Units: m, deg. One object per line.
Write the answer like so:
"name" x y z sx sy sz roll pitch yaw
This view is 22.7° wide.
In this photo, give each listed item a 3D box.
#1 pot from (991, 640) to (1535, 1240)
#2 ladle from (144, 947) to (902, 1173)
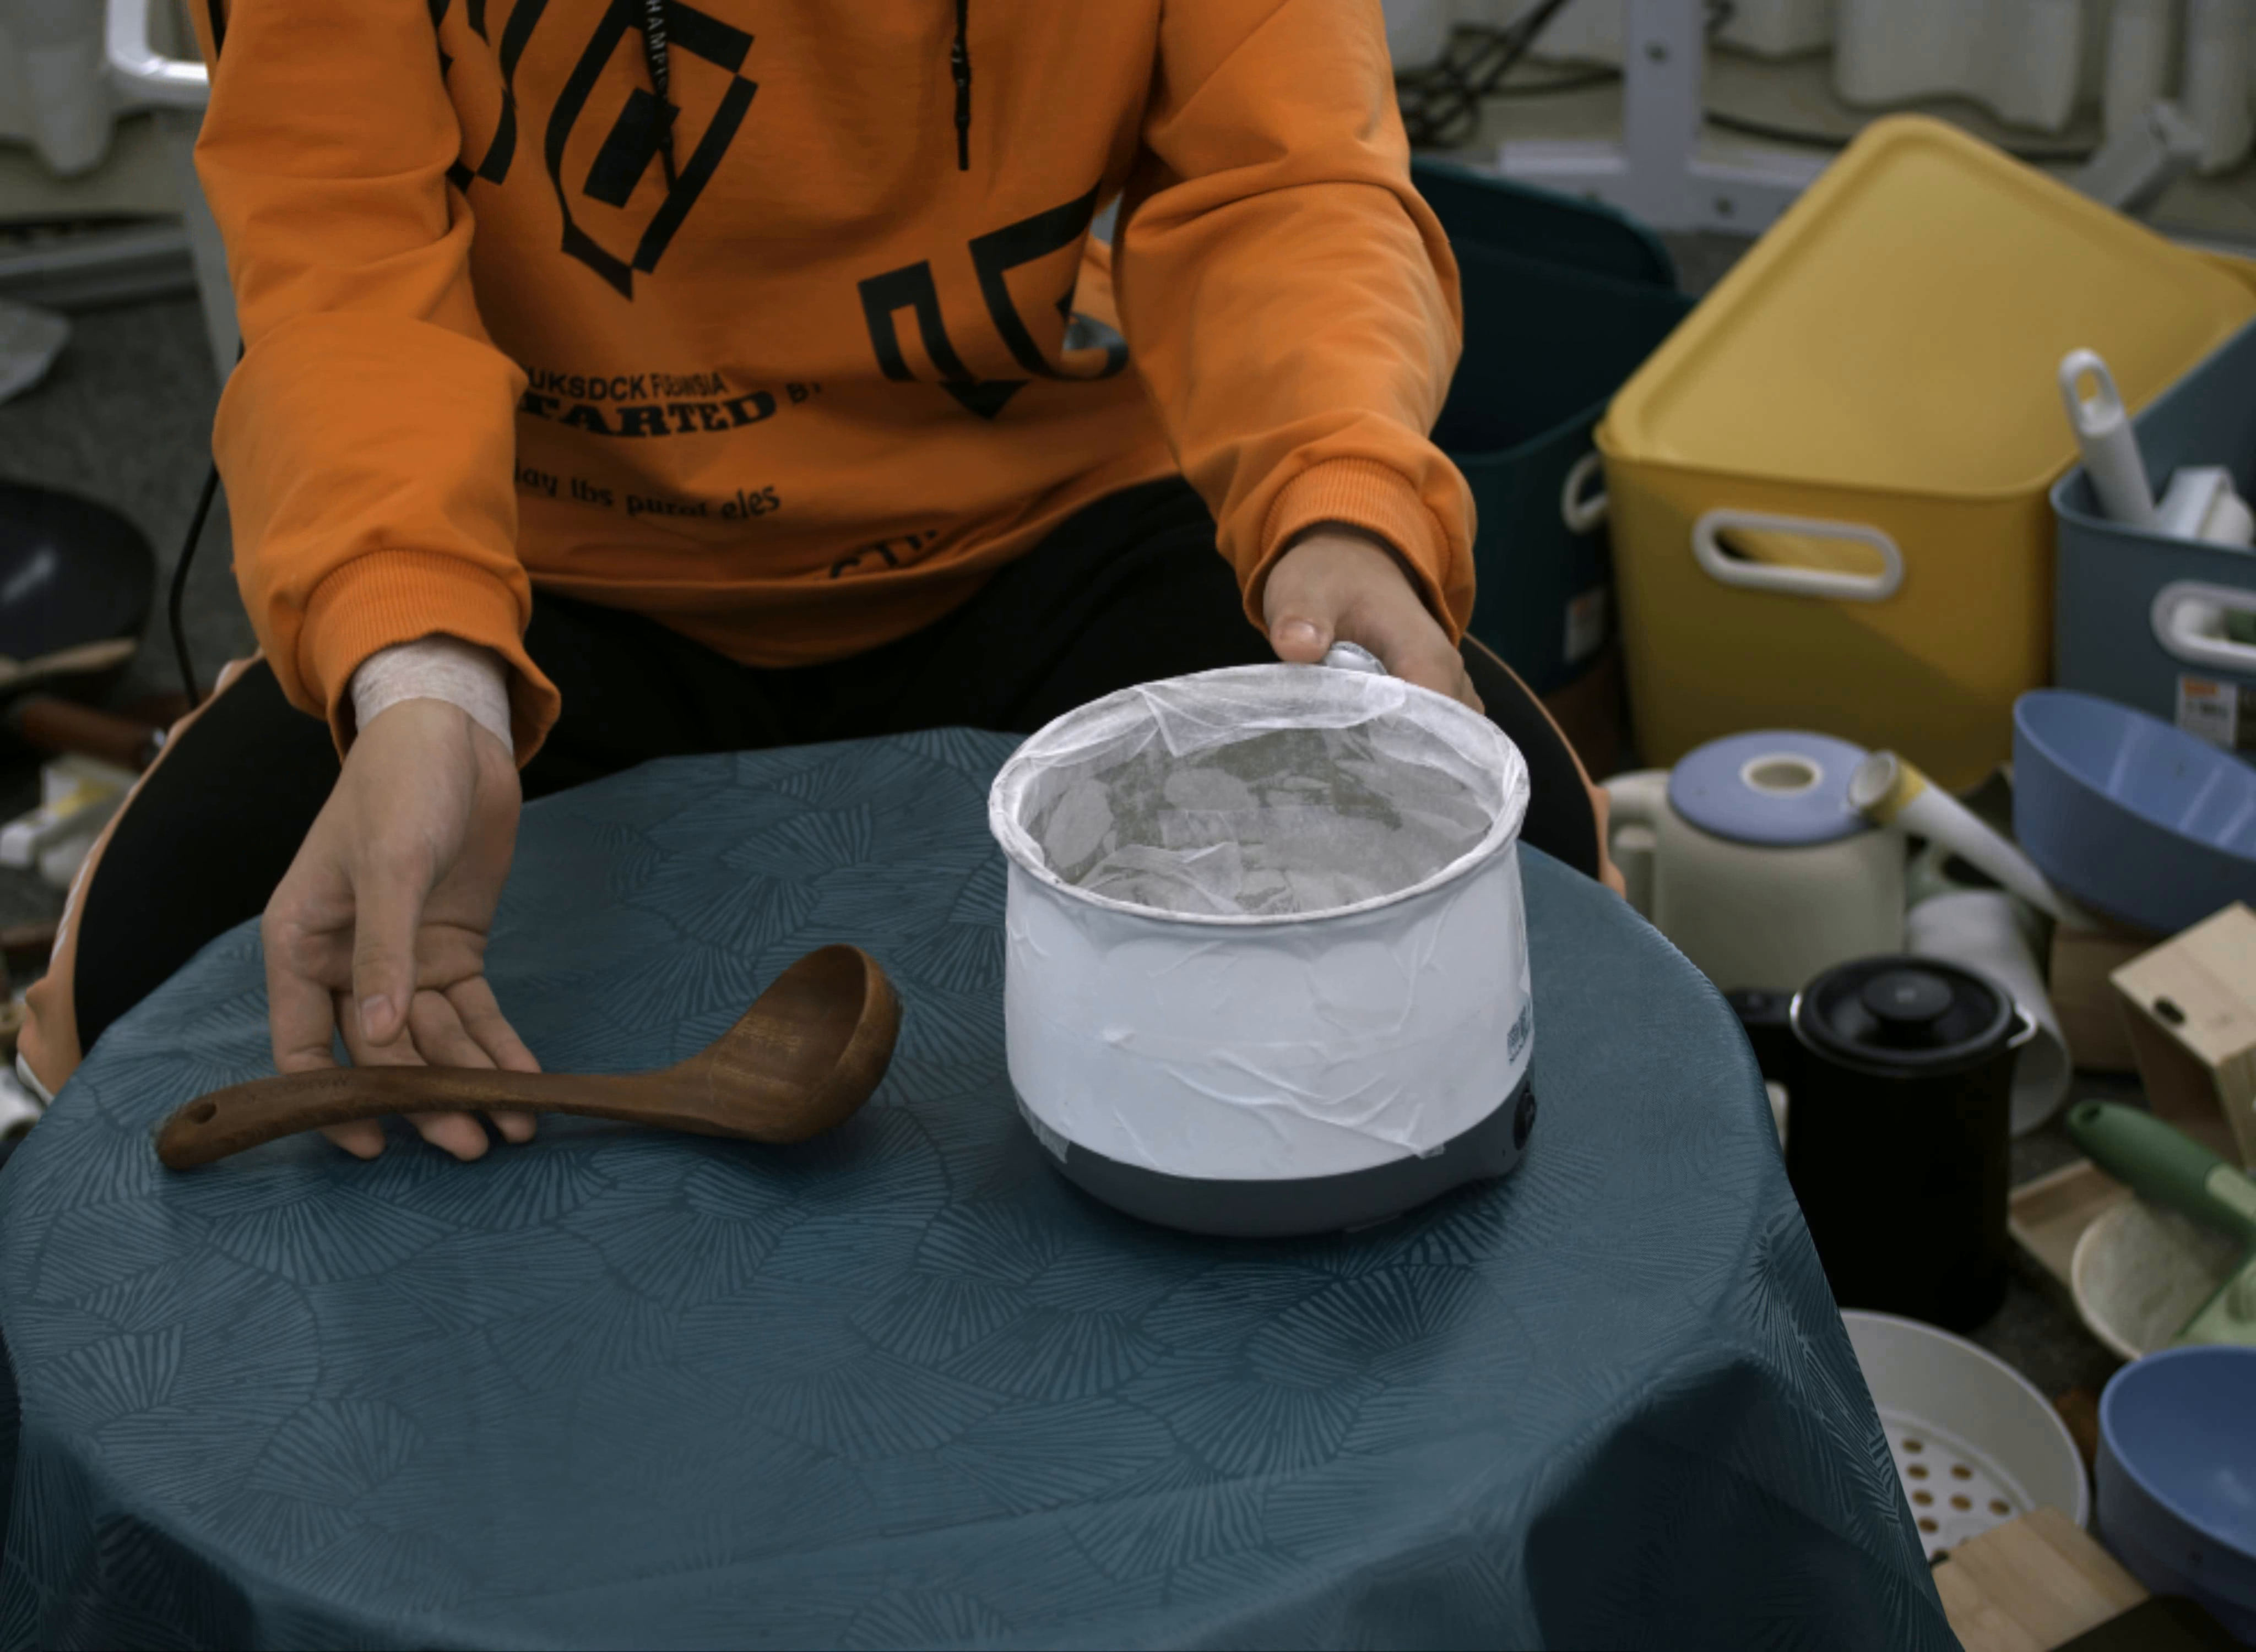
"pot" 0.054 0.030 1.885 0.177 0.135 0.238 6 29 15
"ladle" -0.205 0.082 1.891 0.259 0.064 0.078 -3 33 -1
